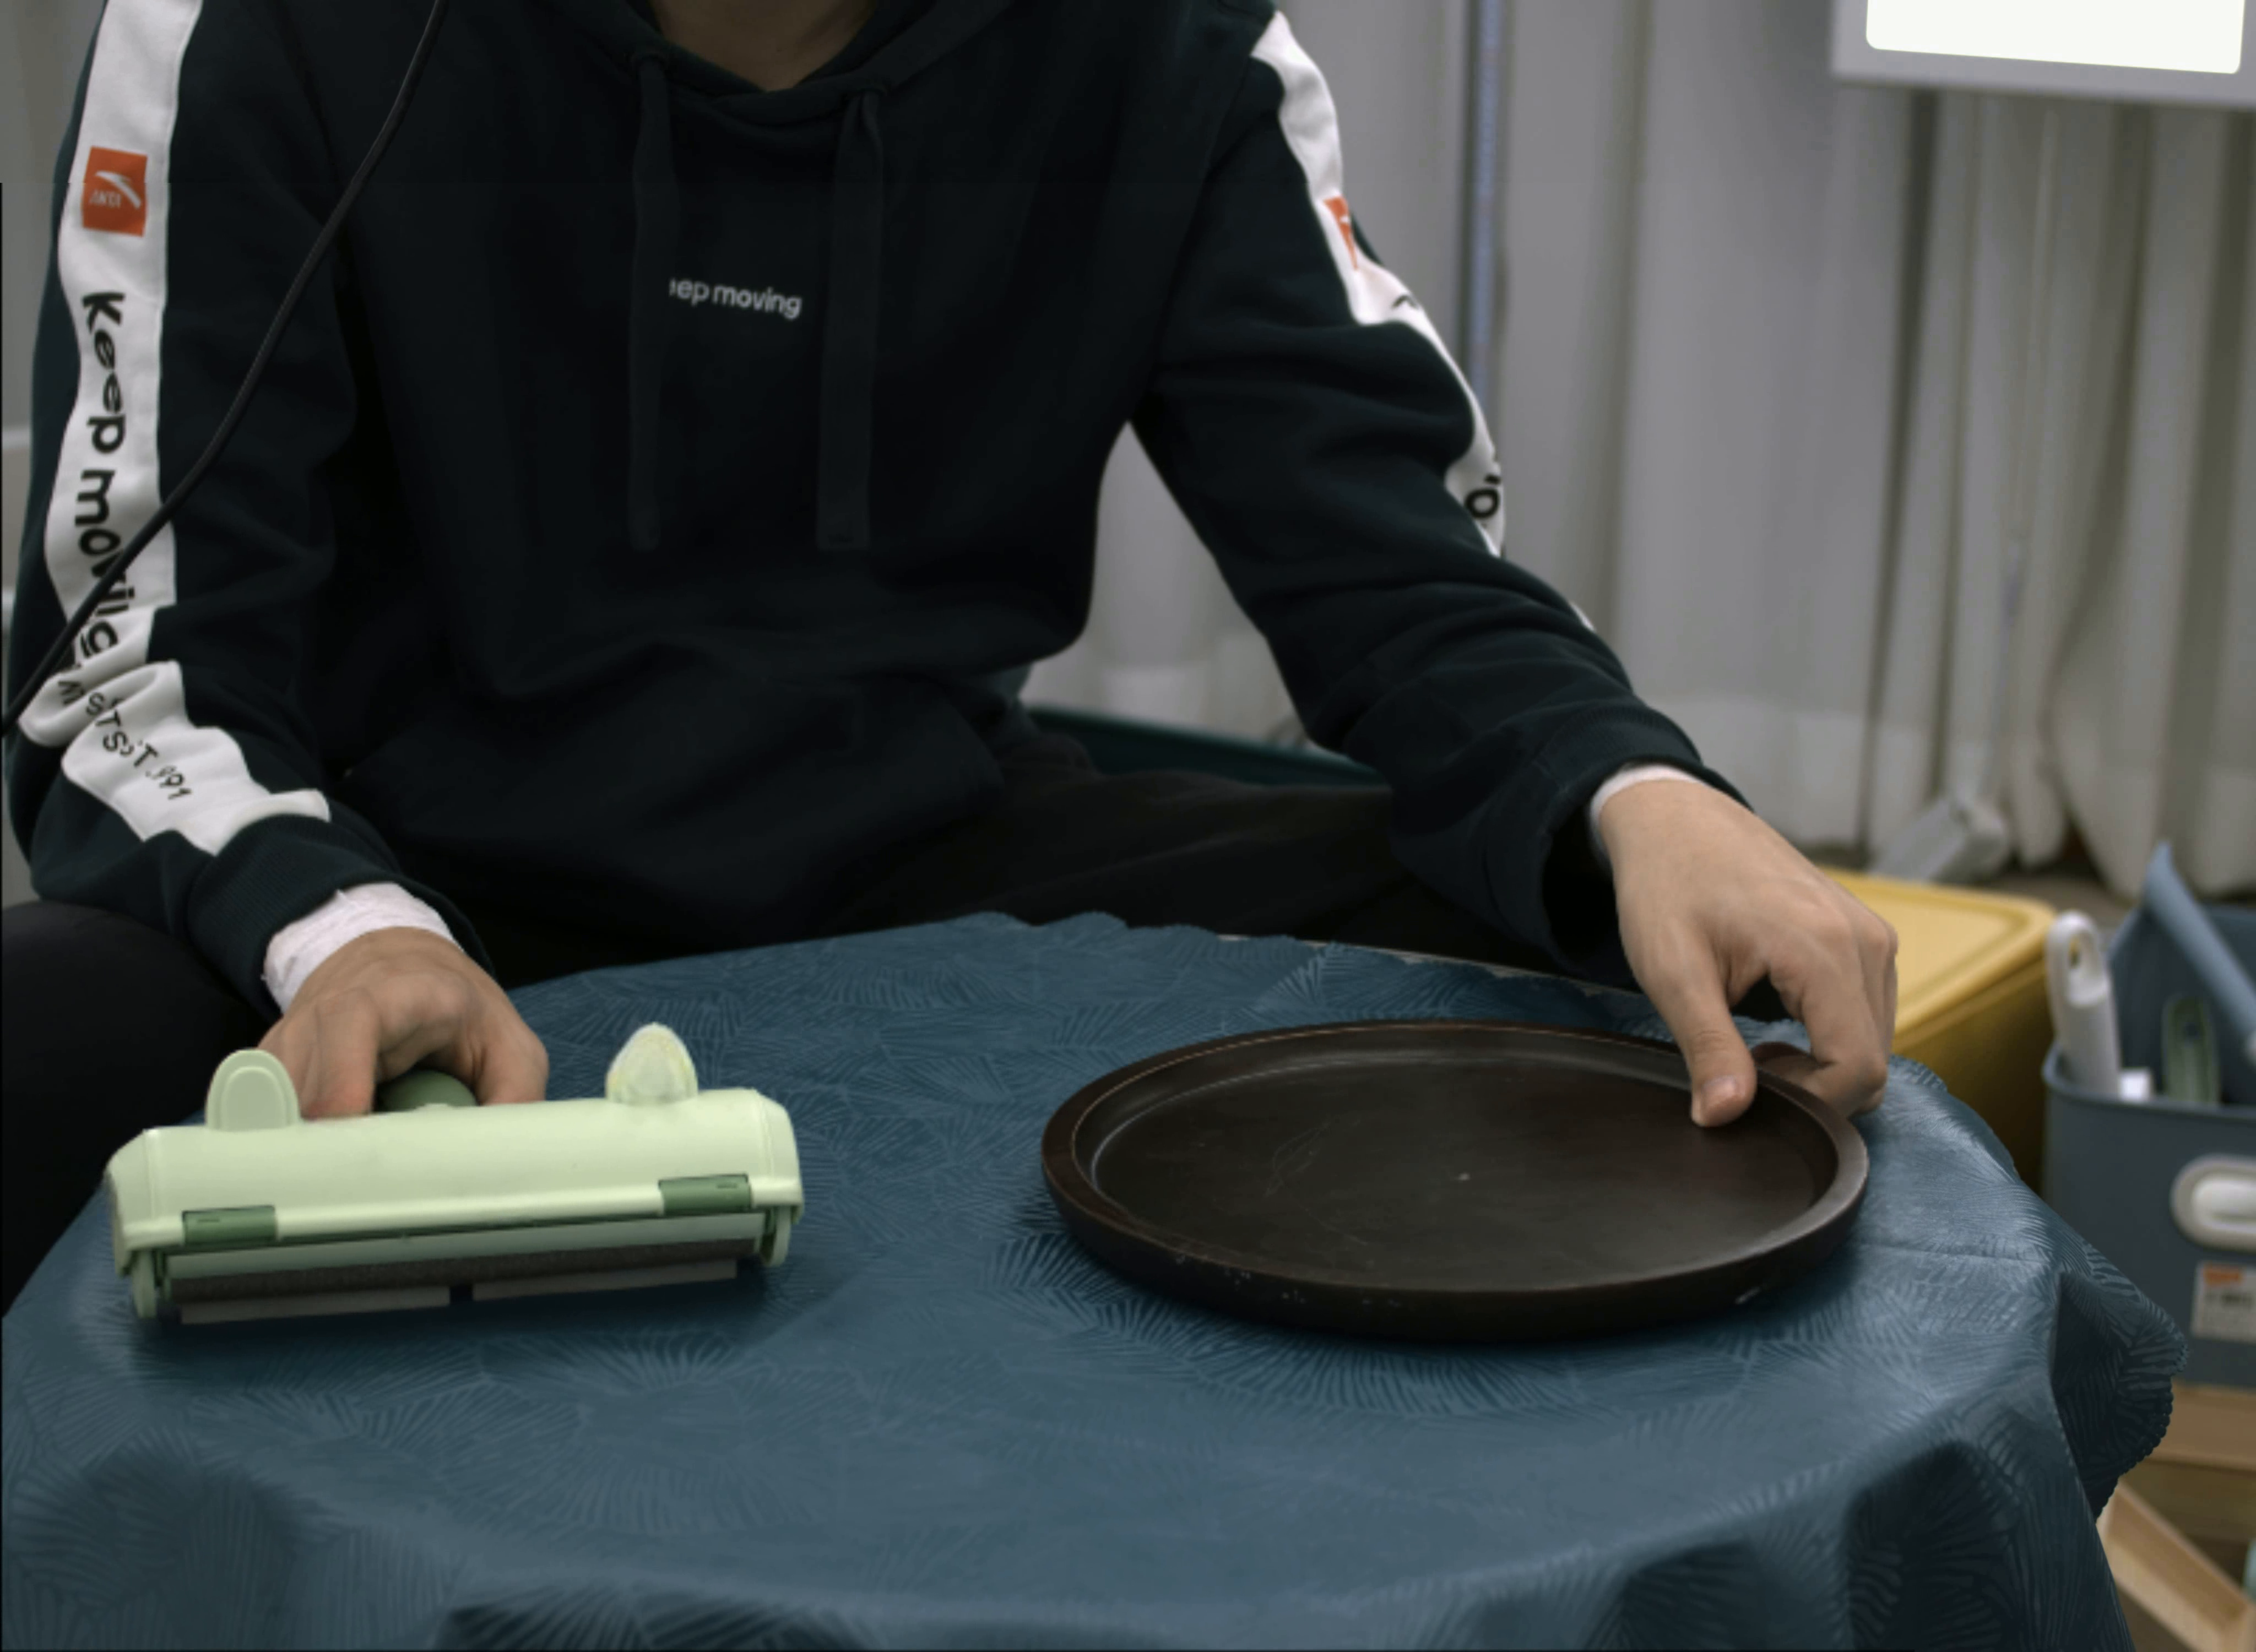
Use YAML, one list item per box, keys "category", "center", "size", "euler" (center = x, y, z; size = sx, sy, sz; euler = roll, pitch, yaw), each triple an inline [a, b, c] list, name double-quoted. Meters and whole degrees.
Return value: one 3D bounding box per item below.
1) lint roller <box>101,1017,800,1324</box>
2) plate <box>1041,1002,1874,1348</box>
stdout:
- category: "lint roller"
  center: [-0.207, 0.083, 1.563]
  size: [0.199, 0.083, 0.181]
  euler: [-3, 20, -13]
- category: "plate"
  center: [0.099, 0.106, 1.599]
  size: [0.254, 0.029, 0.253]
  euler: [-1, 16, 1]
